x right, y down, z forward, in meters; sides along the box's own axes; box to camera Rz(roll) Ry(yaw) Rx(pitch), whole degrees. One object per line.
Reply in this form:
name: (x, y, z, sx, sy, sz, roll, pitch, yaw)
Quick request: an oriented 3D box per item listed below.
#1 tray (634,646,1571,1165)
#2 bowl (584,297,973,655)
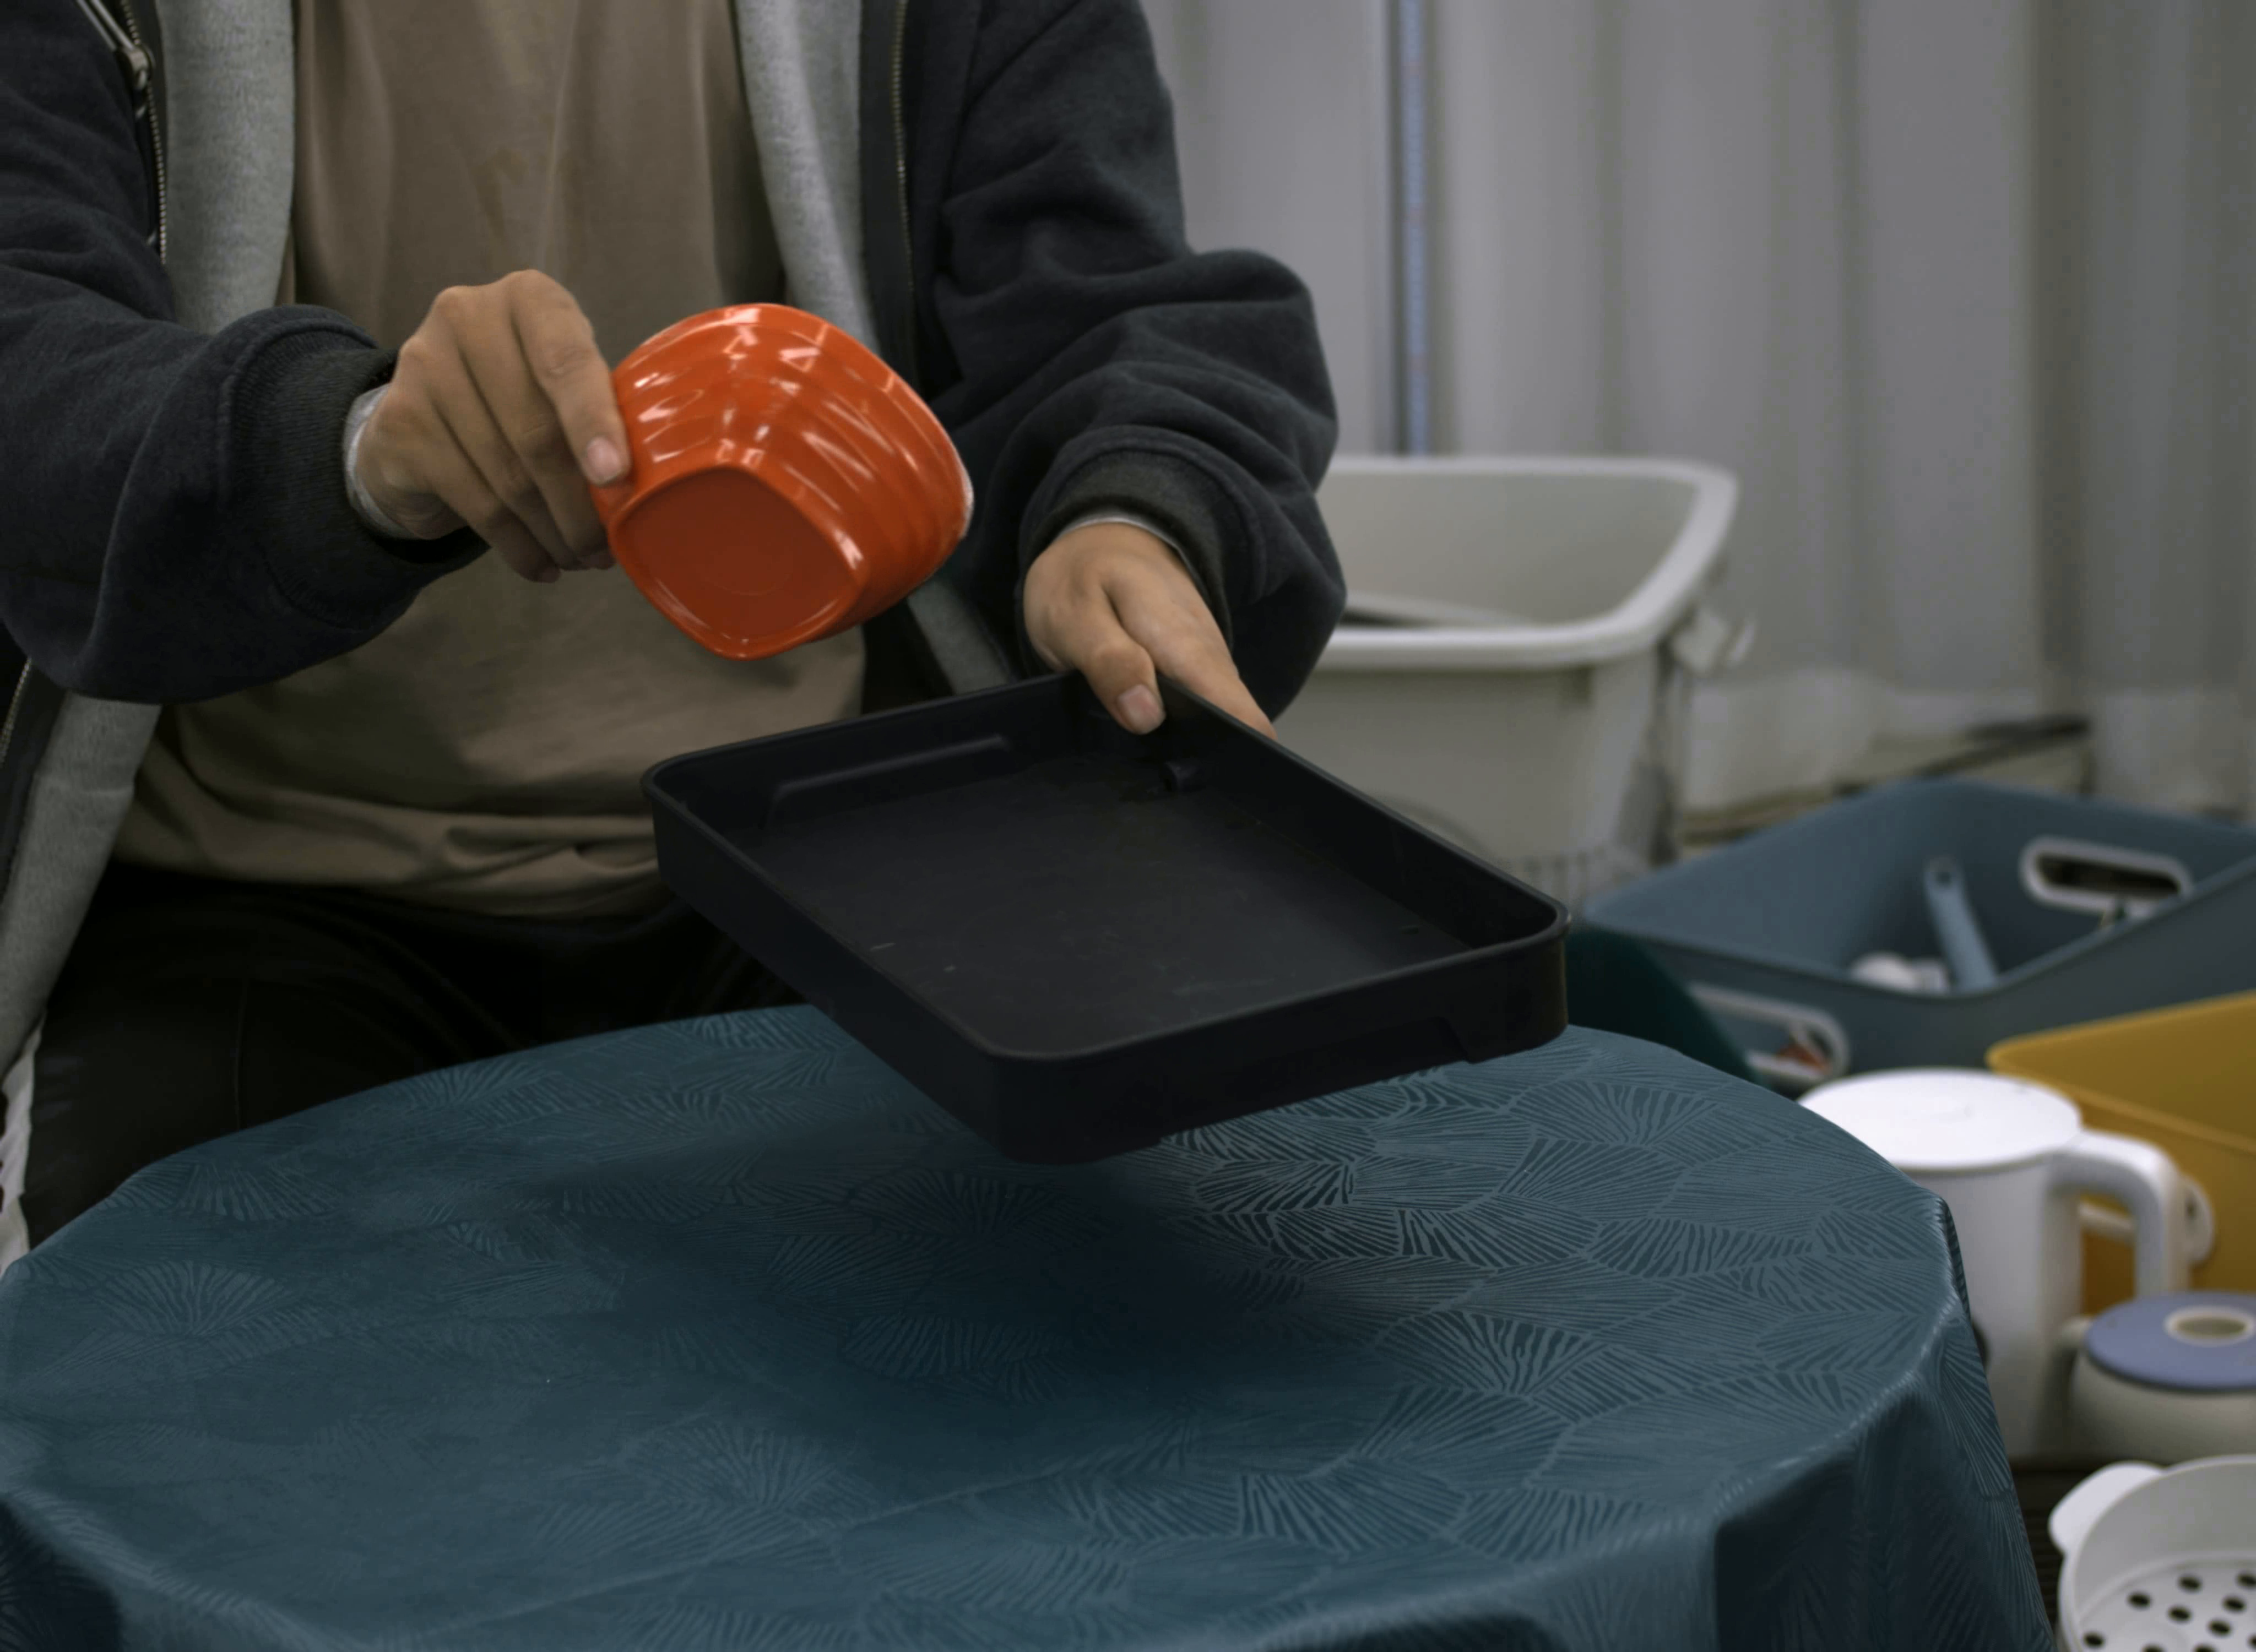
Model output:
tray: (-0.015, 0.018, 1.658, 0.183, 0.037, 0.321, -13, 22, -22)
bowl: (-0.109, -0.094, 1.614, 0.119, 0.117, 0.052, 2, 43, 18)
